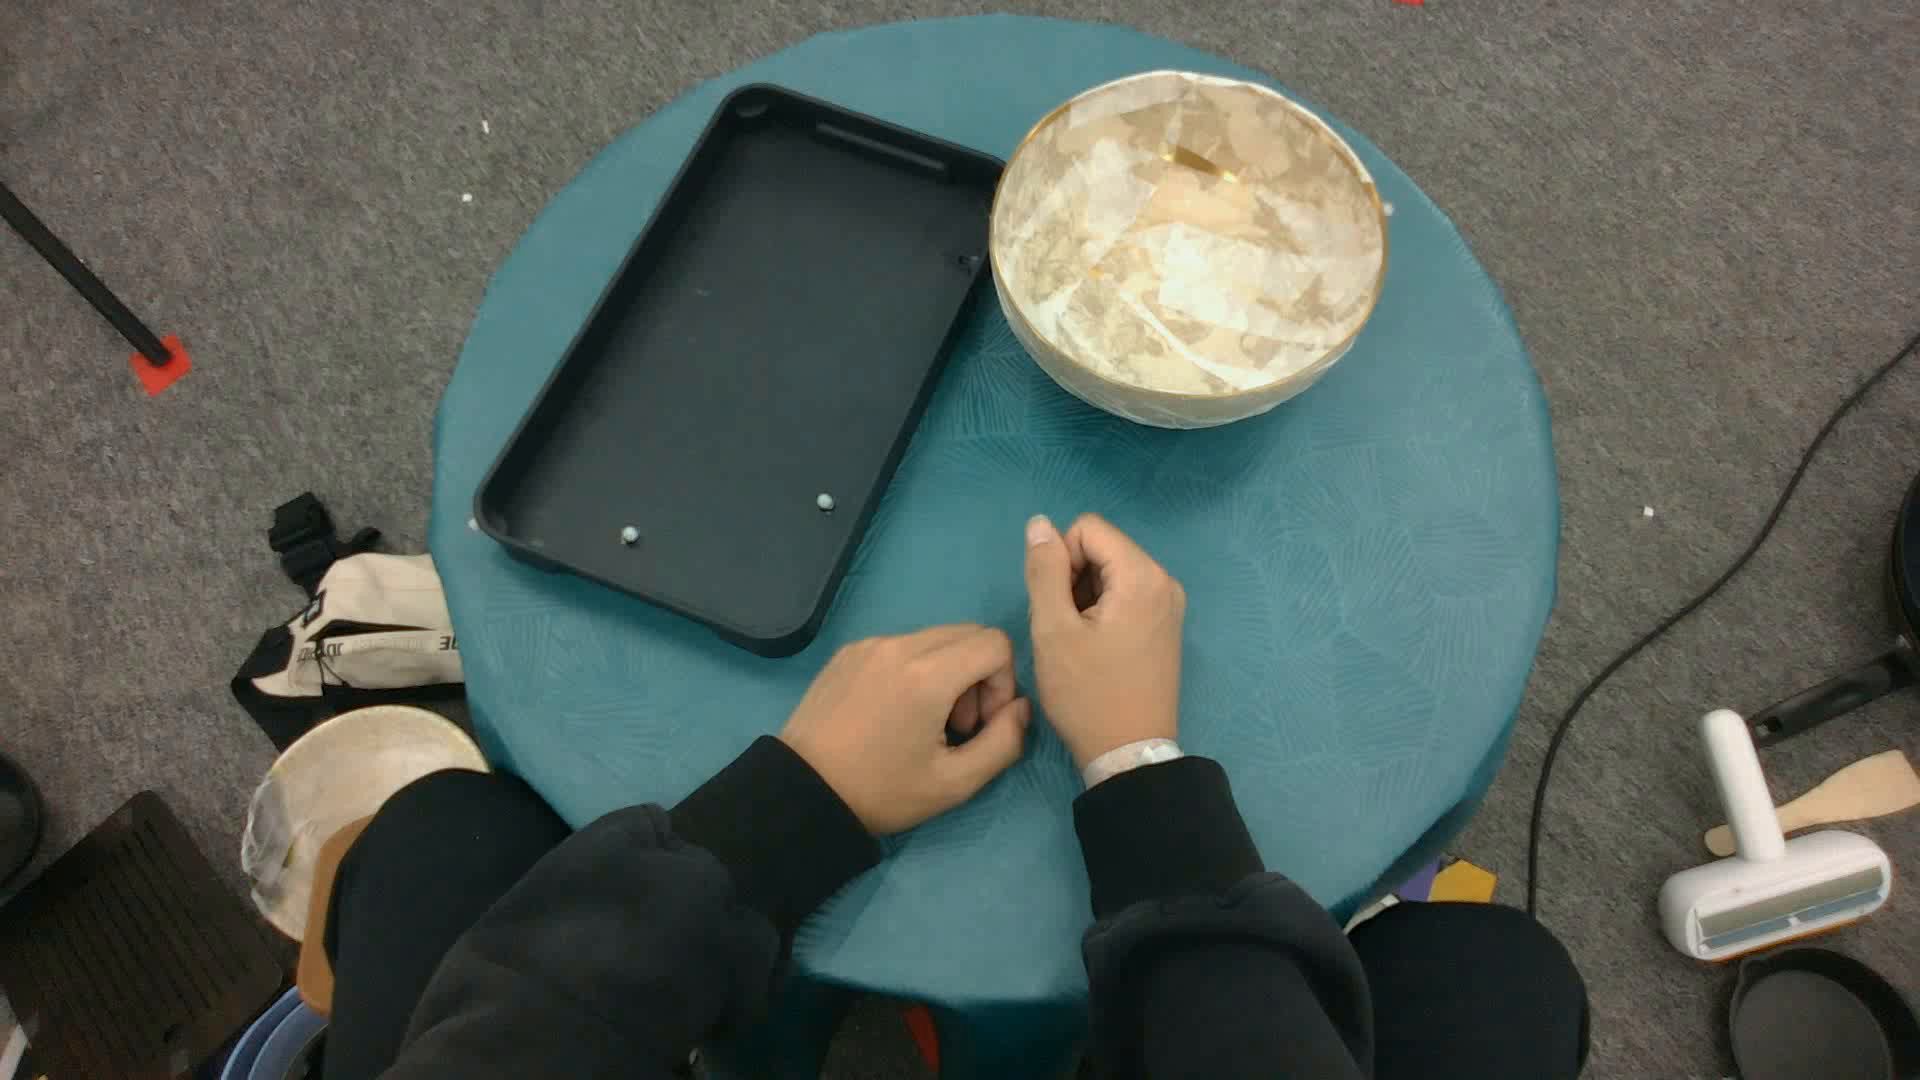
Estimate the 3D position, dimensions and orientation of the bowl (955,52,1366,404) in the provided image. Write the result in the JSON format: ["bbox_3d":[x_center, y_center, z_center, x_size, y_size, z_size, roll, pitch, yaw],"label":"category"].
[{"bbox_3d":[0.097,-0.149,0.731,0.215,0.094,0.215,1,65,-2],"label":"bowl"}]

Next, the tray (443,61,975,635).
[{"bbox_3d":[-0.117,-0.115,0.741,0.184,0.037,0.319,21,66,9],"label":"tray"}]
